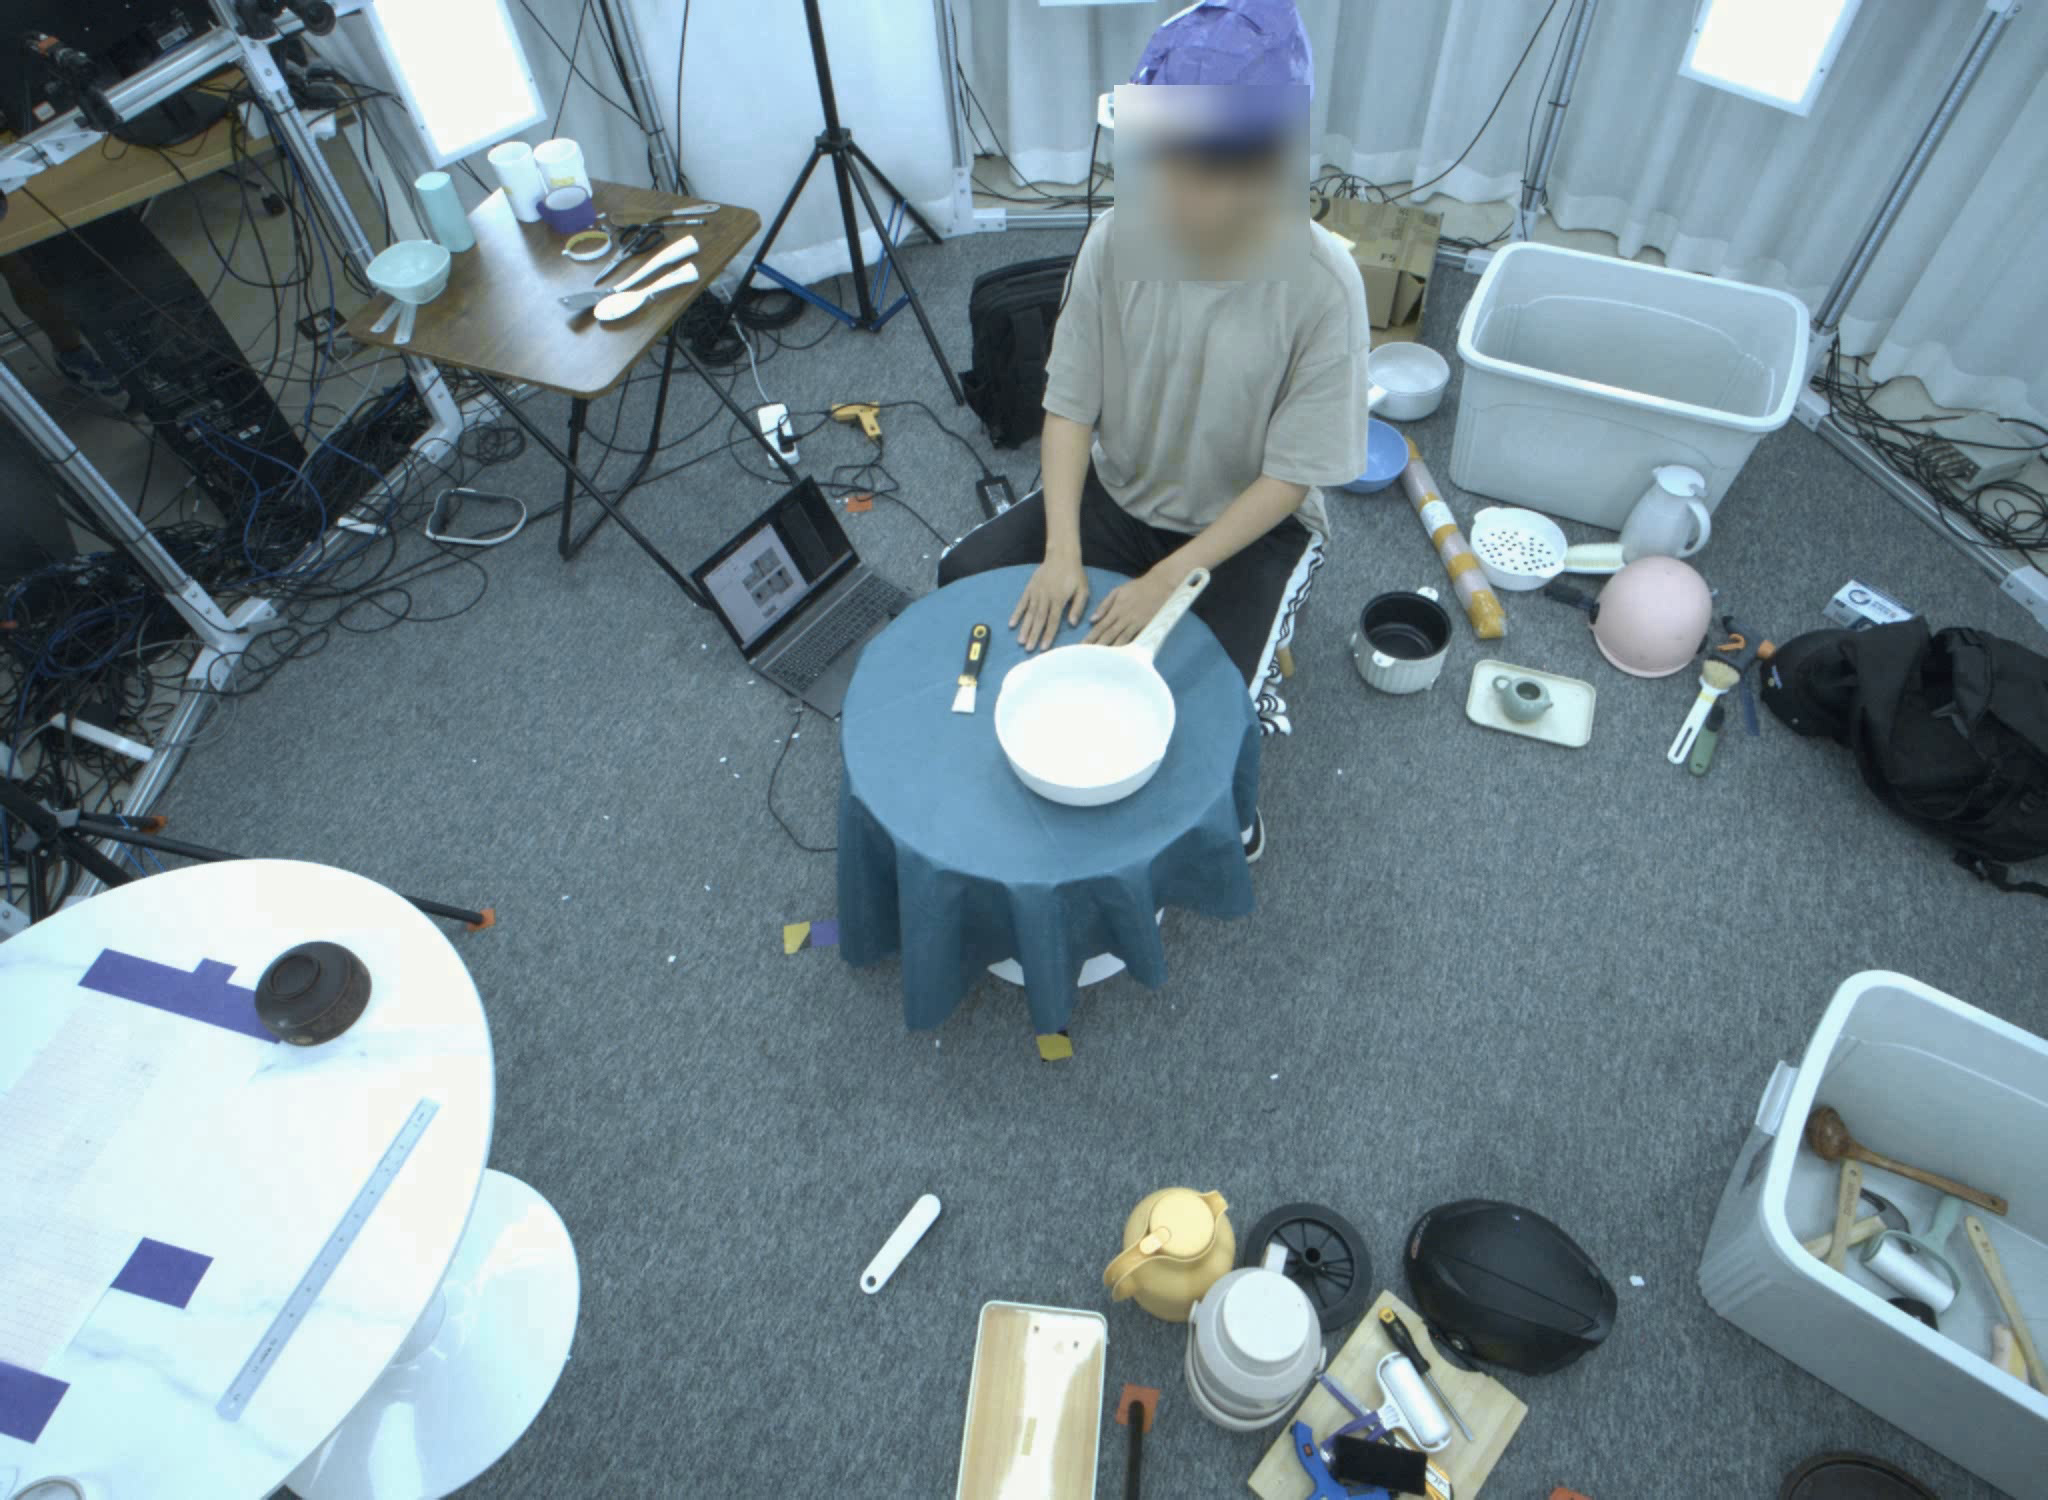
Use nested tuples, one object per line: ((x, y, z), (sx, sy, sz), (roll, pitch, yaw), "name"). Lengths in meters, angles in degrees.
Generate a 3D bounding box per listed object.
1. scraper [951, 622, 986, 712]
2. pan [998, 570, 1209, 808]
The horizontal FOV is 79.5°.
((-0.082, -0.127, 1.869), (0.038, 0.015, 0.169), (2, 57, 9), "scraper")
((0.146, -0.092, 1.786), (0.259, 0.103, 0.437), (29, 61, 24), "pan")
